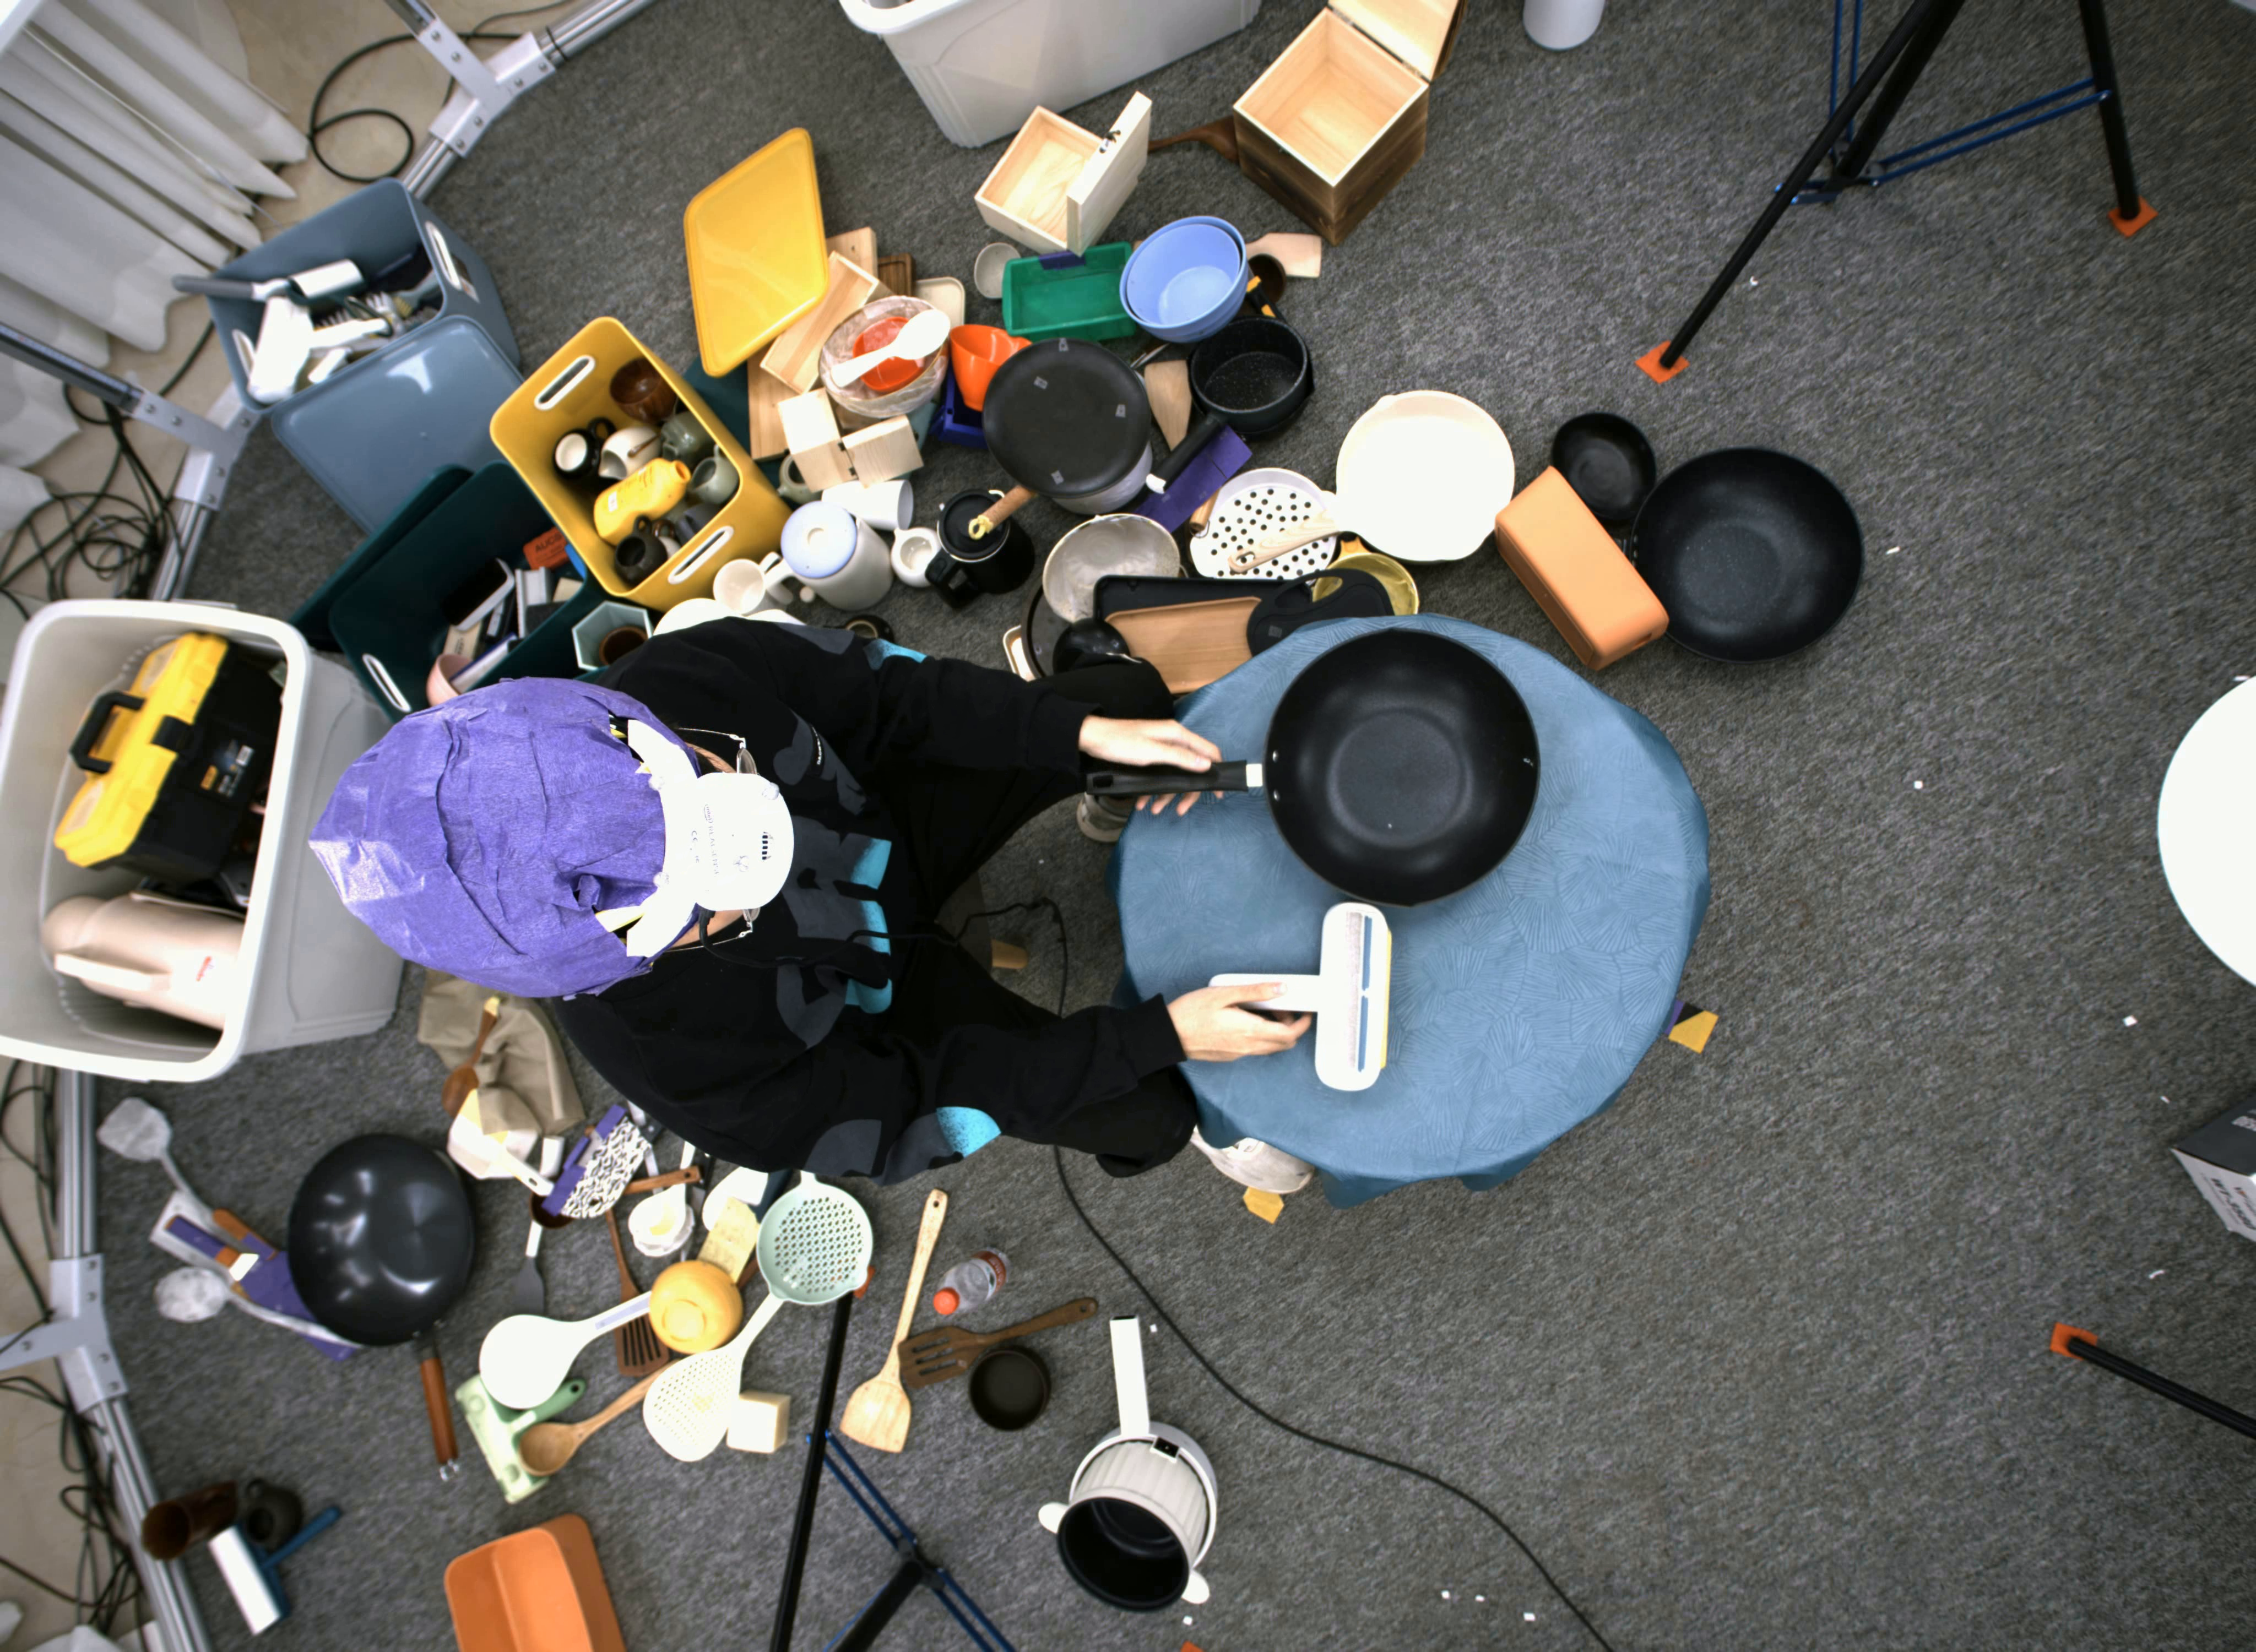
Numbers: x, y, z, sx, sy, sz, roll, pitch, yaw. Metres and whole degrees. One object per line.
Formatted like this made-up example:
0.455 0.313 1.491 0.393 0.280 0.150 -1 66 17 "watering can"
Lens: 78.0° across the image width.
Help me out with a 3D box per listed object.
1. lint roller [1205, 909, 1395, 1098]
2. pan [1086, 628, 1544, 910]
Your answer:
0.172 0.175 1.433 0.193 0.074 0.191 6 83 12 "lint roller"
0.190 -0.053 1.434 0.465 0.087 0.287 -3 87 10 "pan"
